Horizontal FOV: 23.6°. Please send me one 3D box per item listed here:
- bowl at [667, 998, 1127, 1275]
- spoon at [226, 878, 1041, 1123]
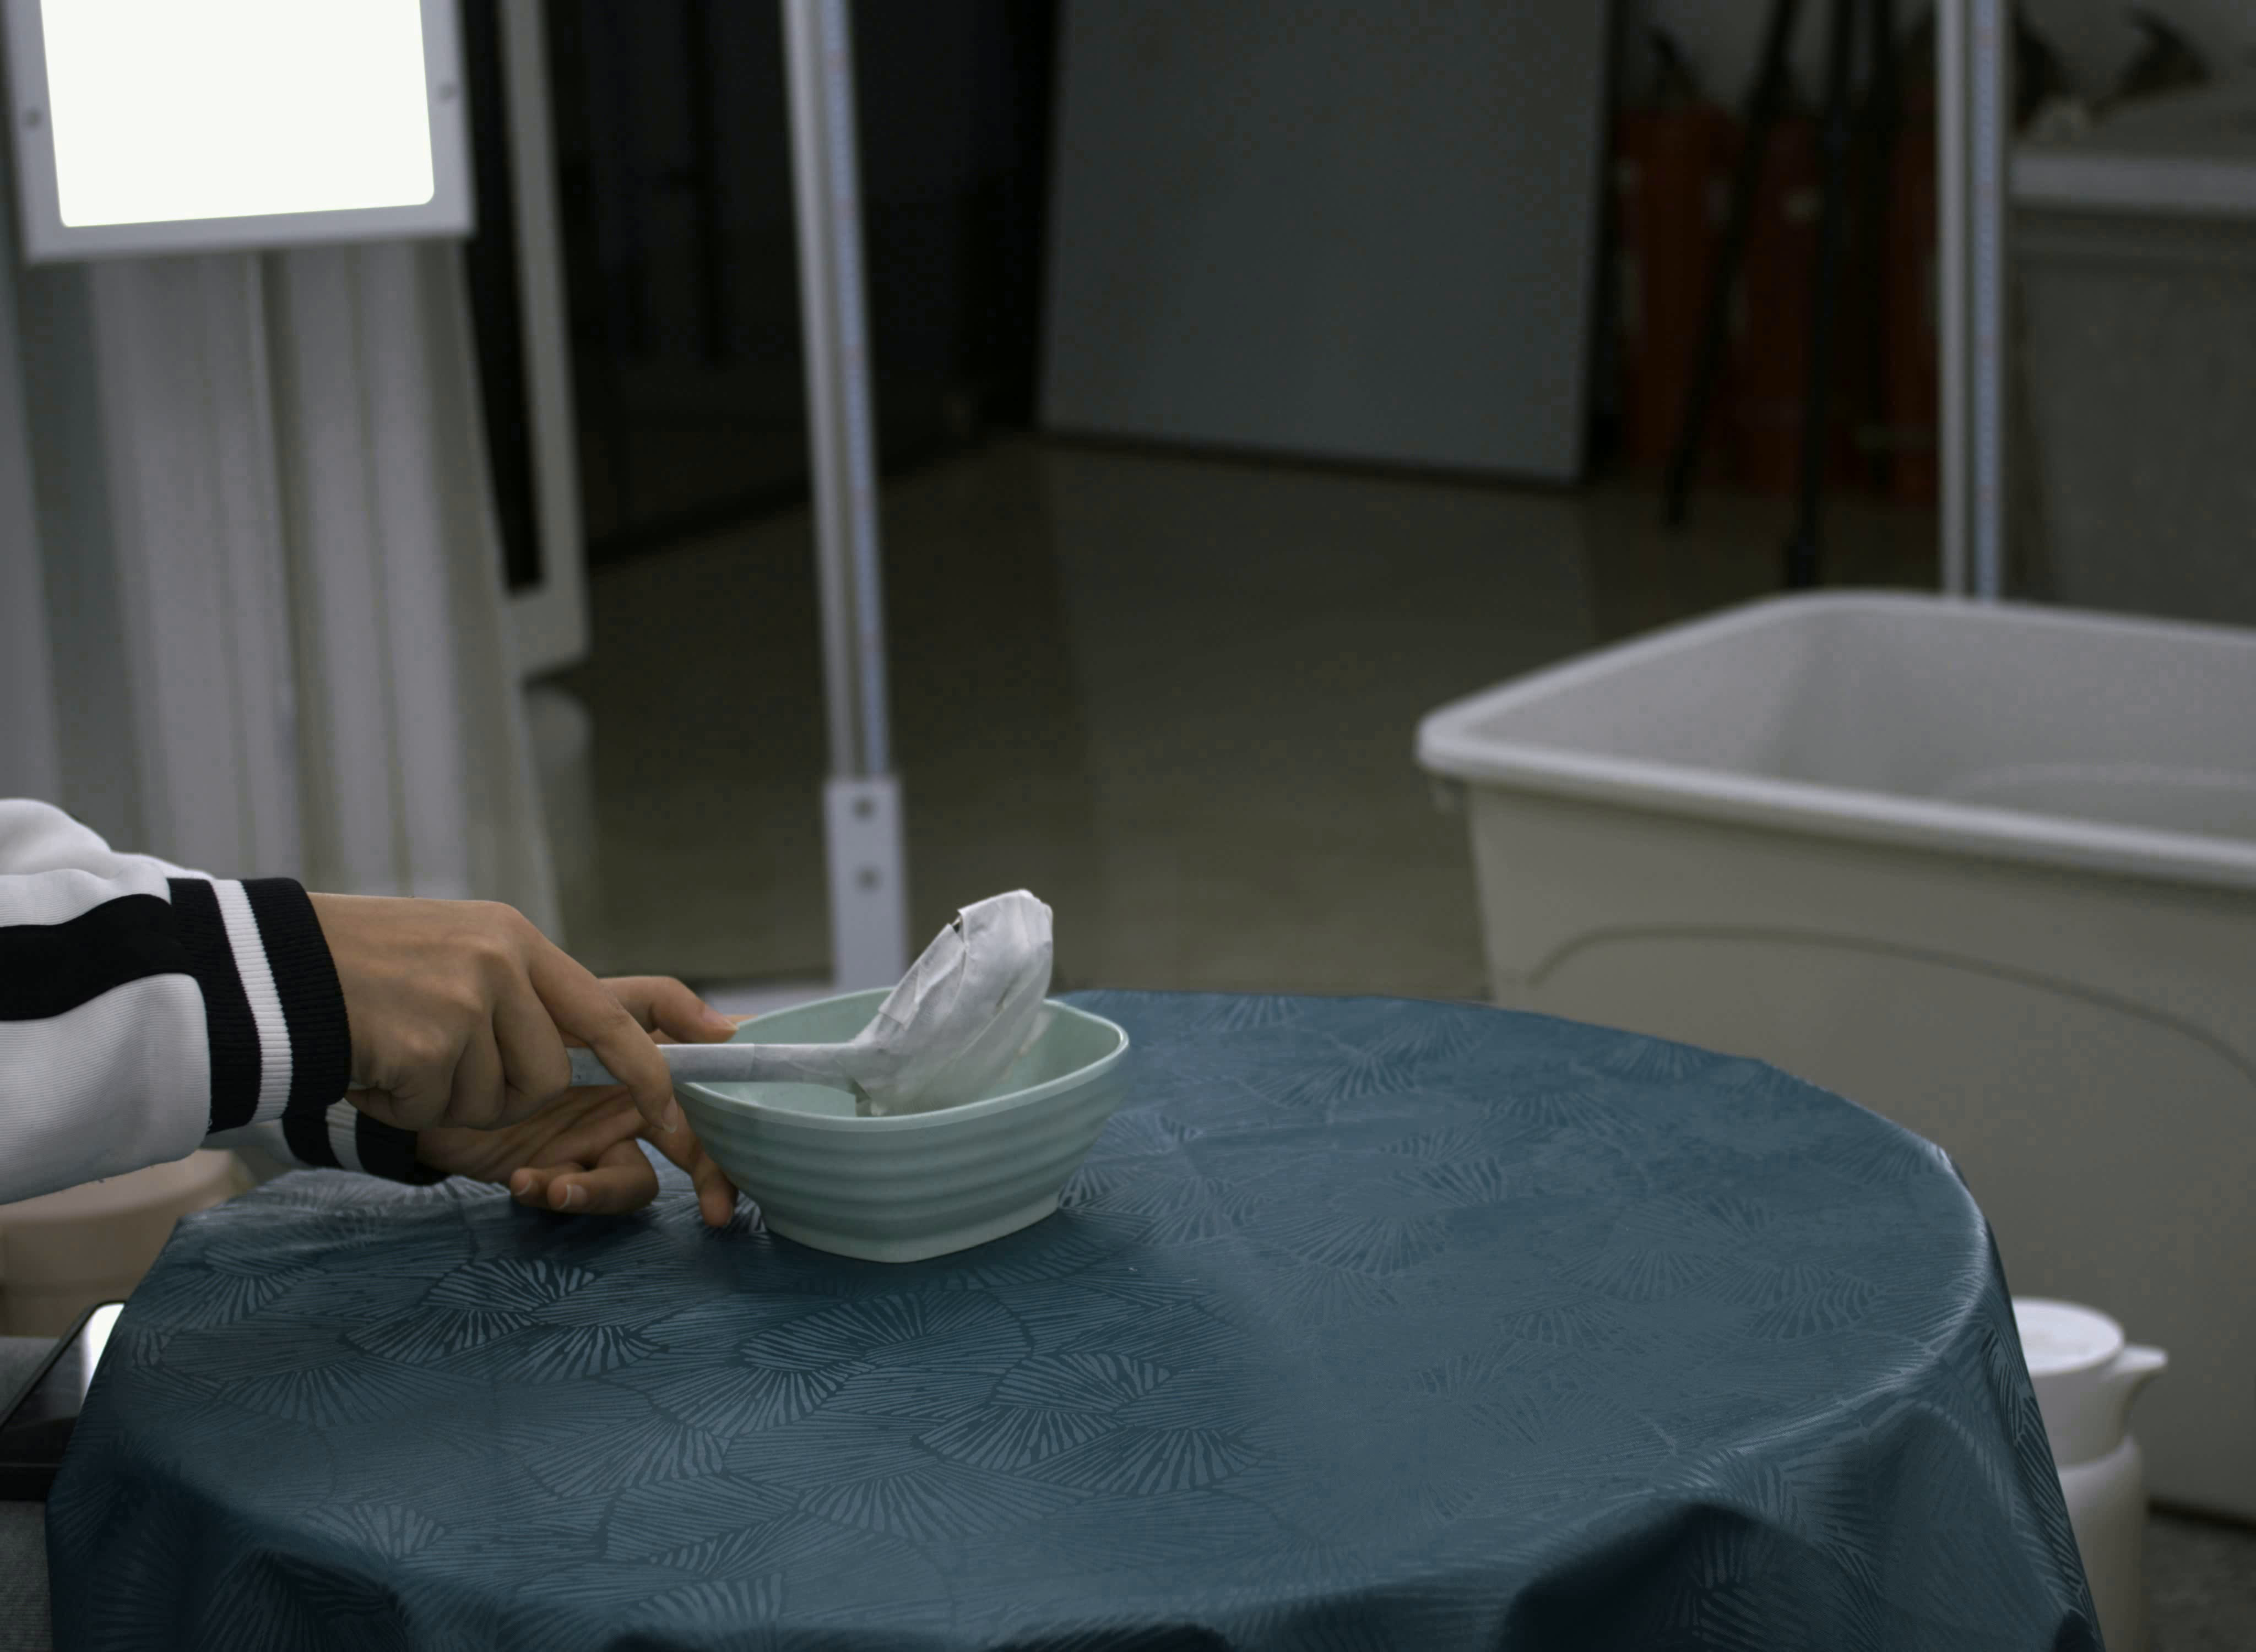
[{"bbox_3d":[-0.073,0.103,1.753,0.149,0.059,0.151,-3,13,0],"label":"bowl"},{"bbox_3d":[-0.151,0.065,1.700,0.271,0.101,0.060,-2,33,-18],"label":"spoon"}]
